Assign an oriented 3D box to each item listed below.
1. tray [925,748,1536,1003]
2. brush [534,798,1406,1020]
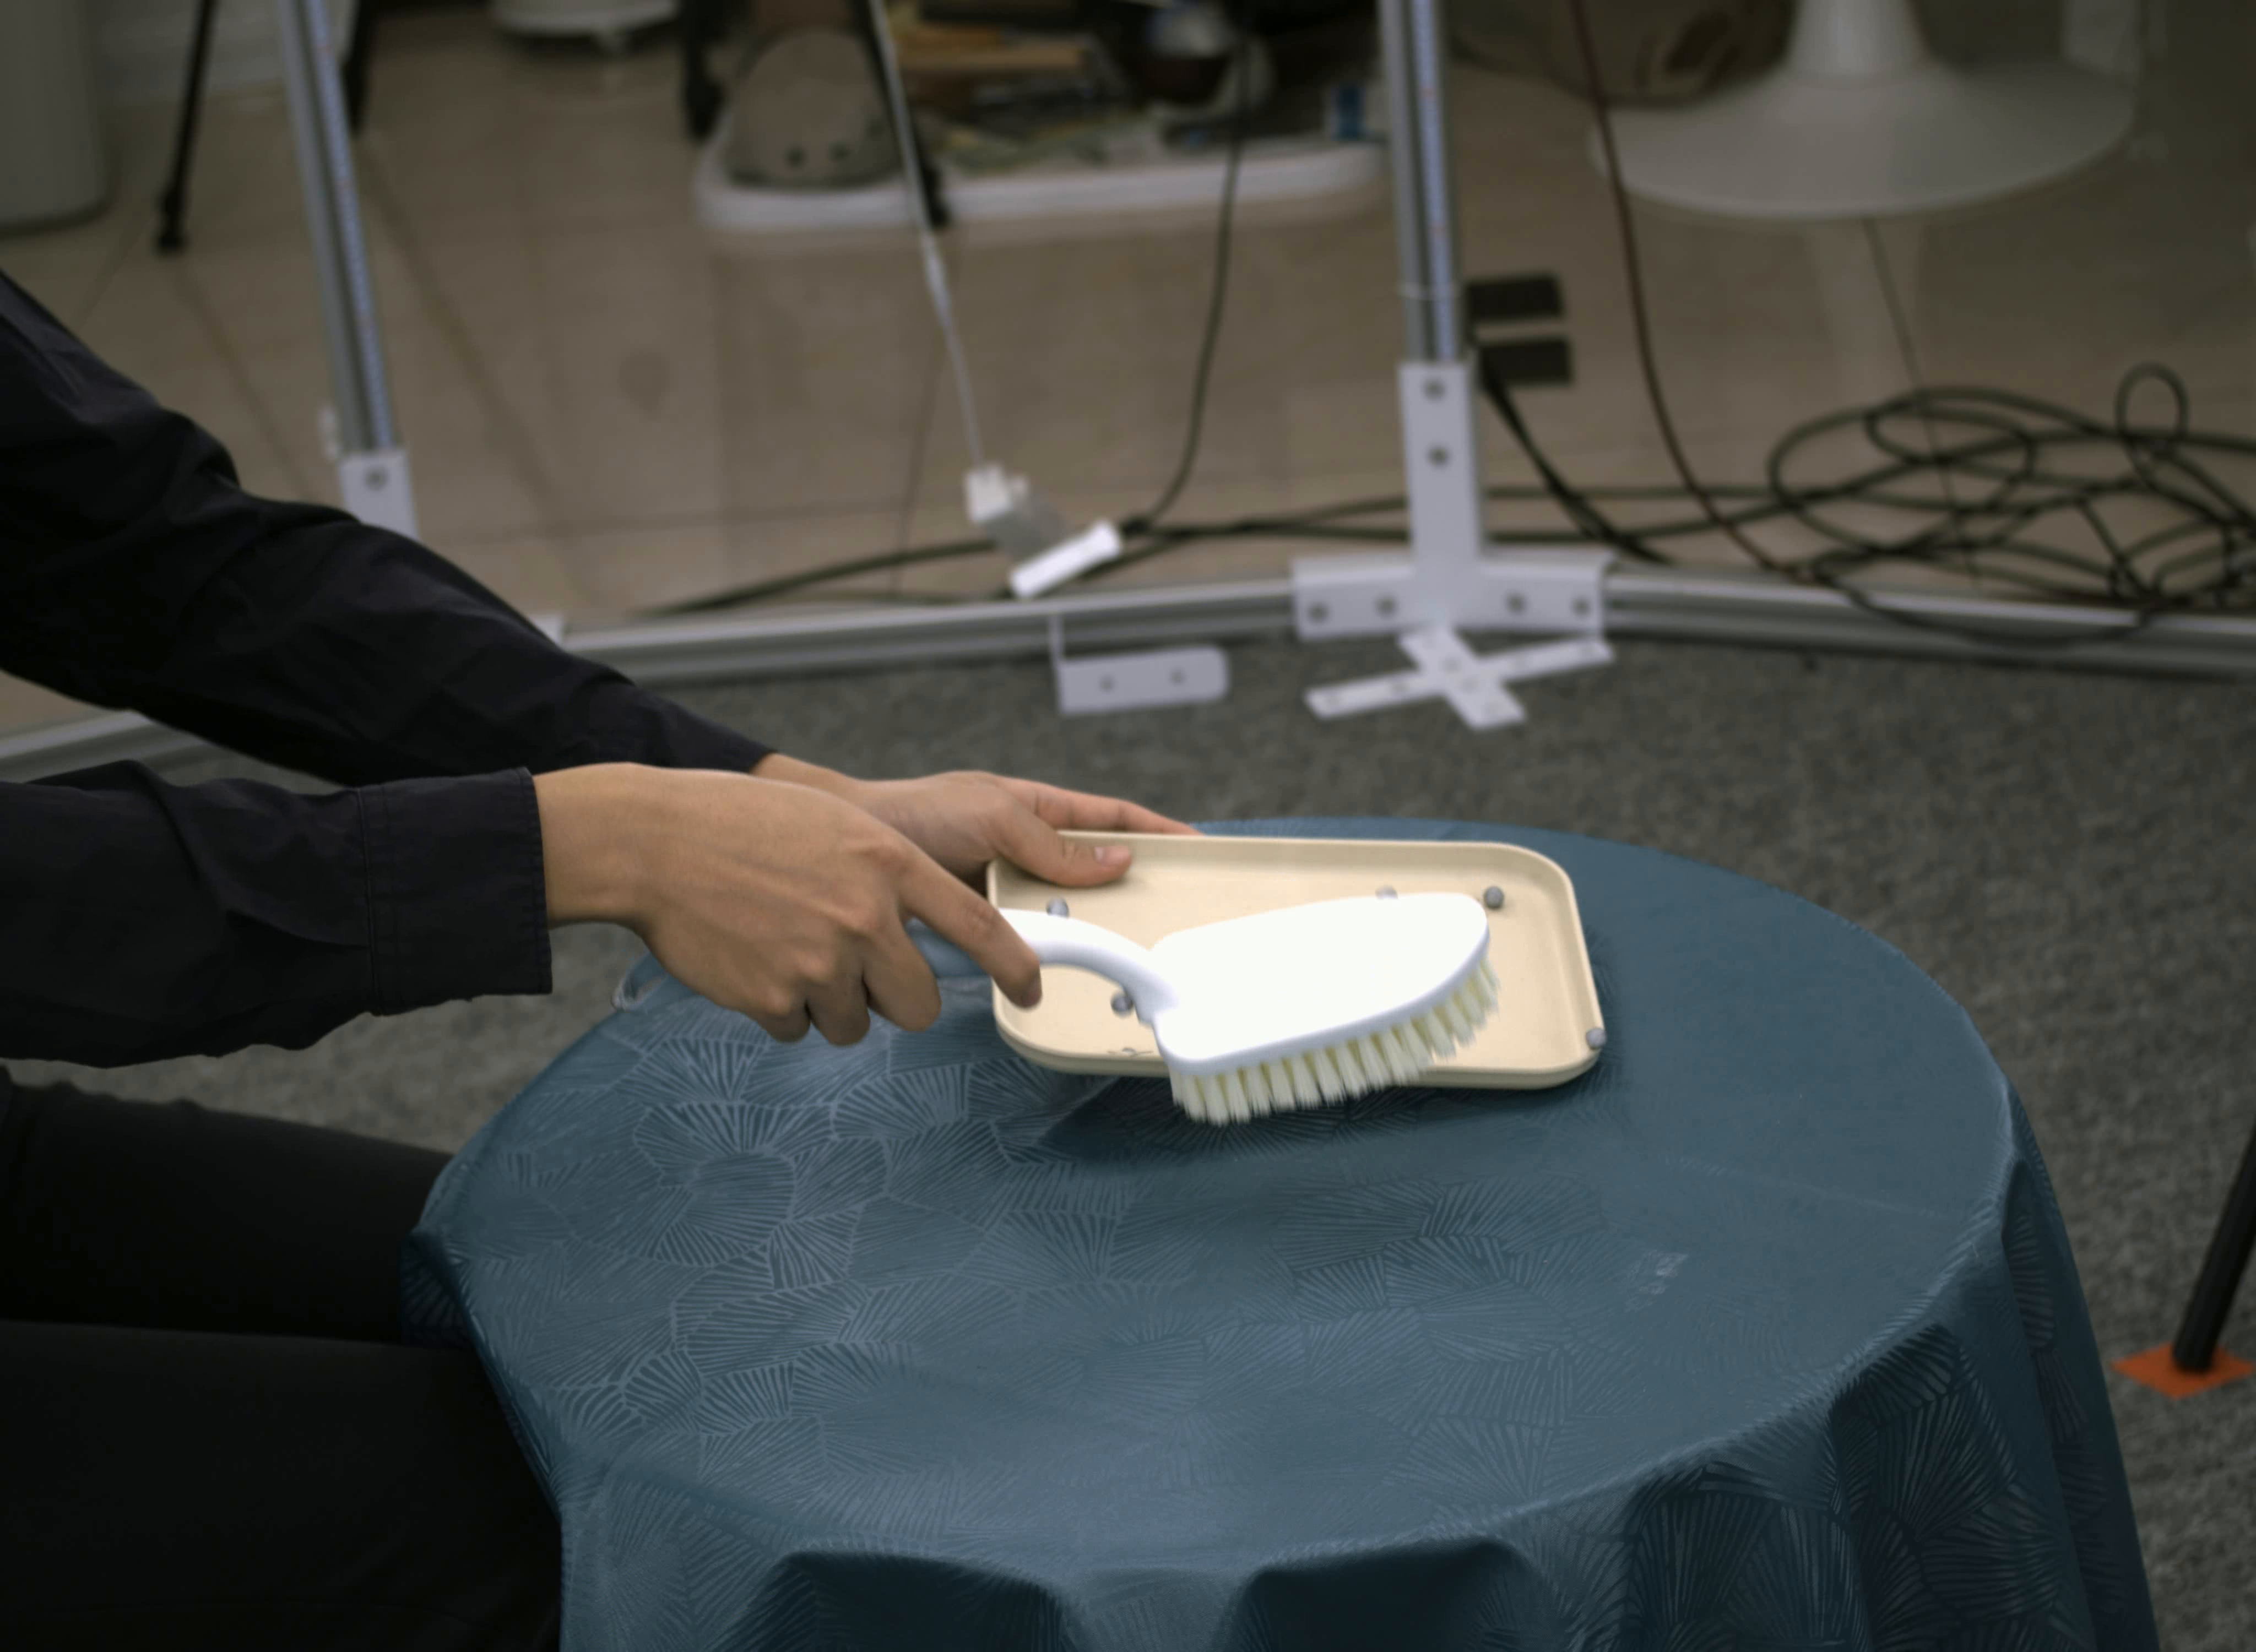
[{"bbox_3d":[0.039,0.021,2.263,0.239,0.018,0.168,2,32,-4],"label":"tray"},{"bbox_3d":[-0.057,0.033,2.104,0.325,0.085,0.083,-4,6,-8],"label":"brush"}]
